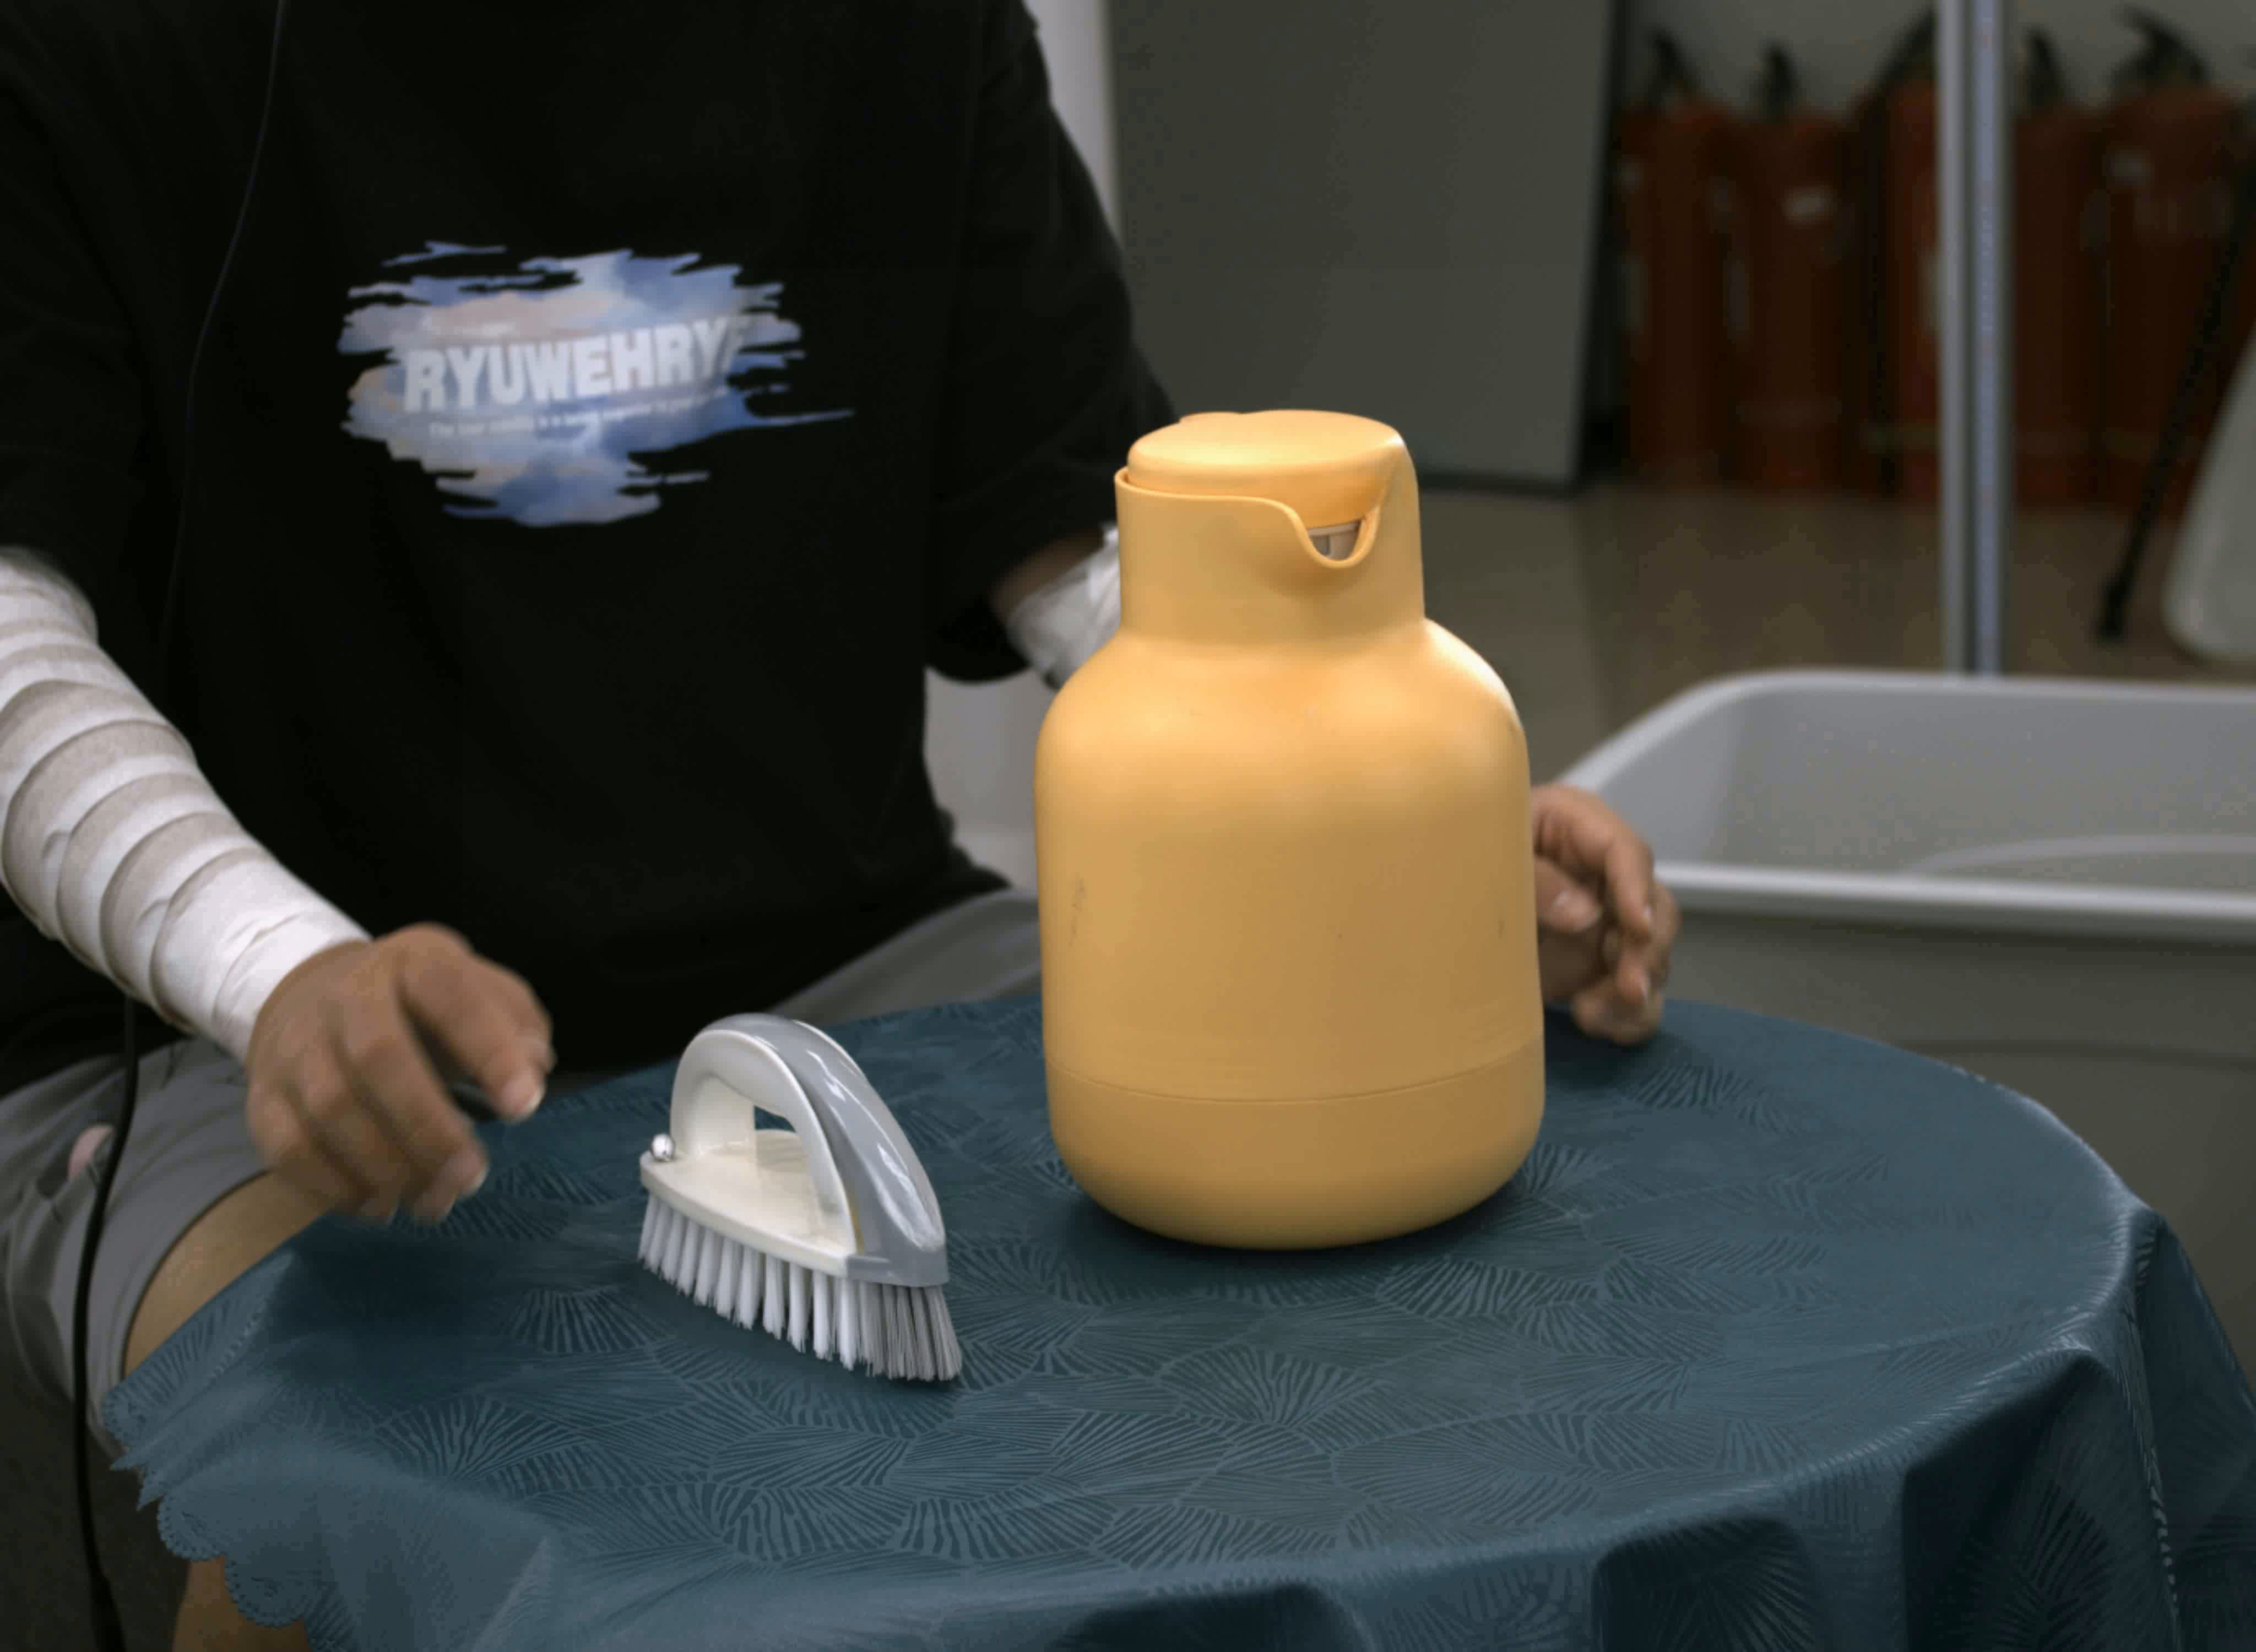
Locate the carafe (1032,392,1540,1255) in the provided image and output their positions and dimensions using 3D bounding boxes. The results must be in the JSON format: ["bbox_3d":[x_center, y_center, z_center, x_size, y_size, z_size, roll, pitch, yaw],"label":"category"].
[{"bbox_3d":[0.046,-0.009,1.743,0.160,0.263,0.204,-5,14,-12],"label":"carafe"}]

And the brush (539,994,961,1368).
[{"bbox_3d":[-0.114,0.105,1.664,0.060,0.095,0.177,-21,27,-39],"label":"brush"}]
